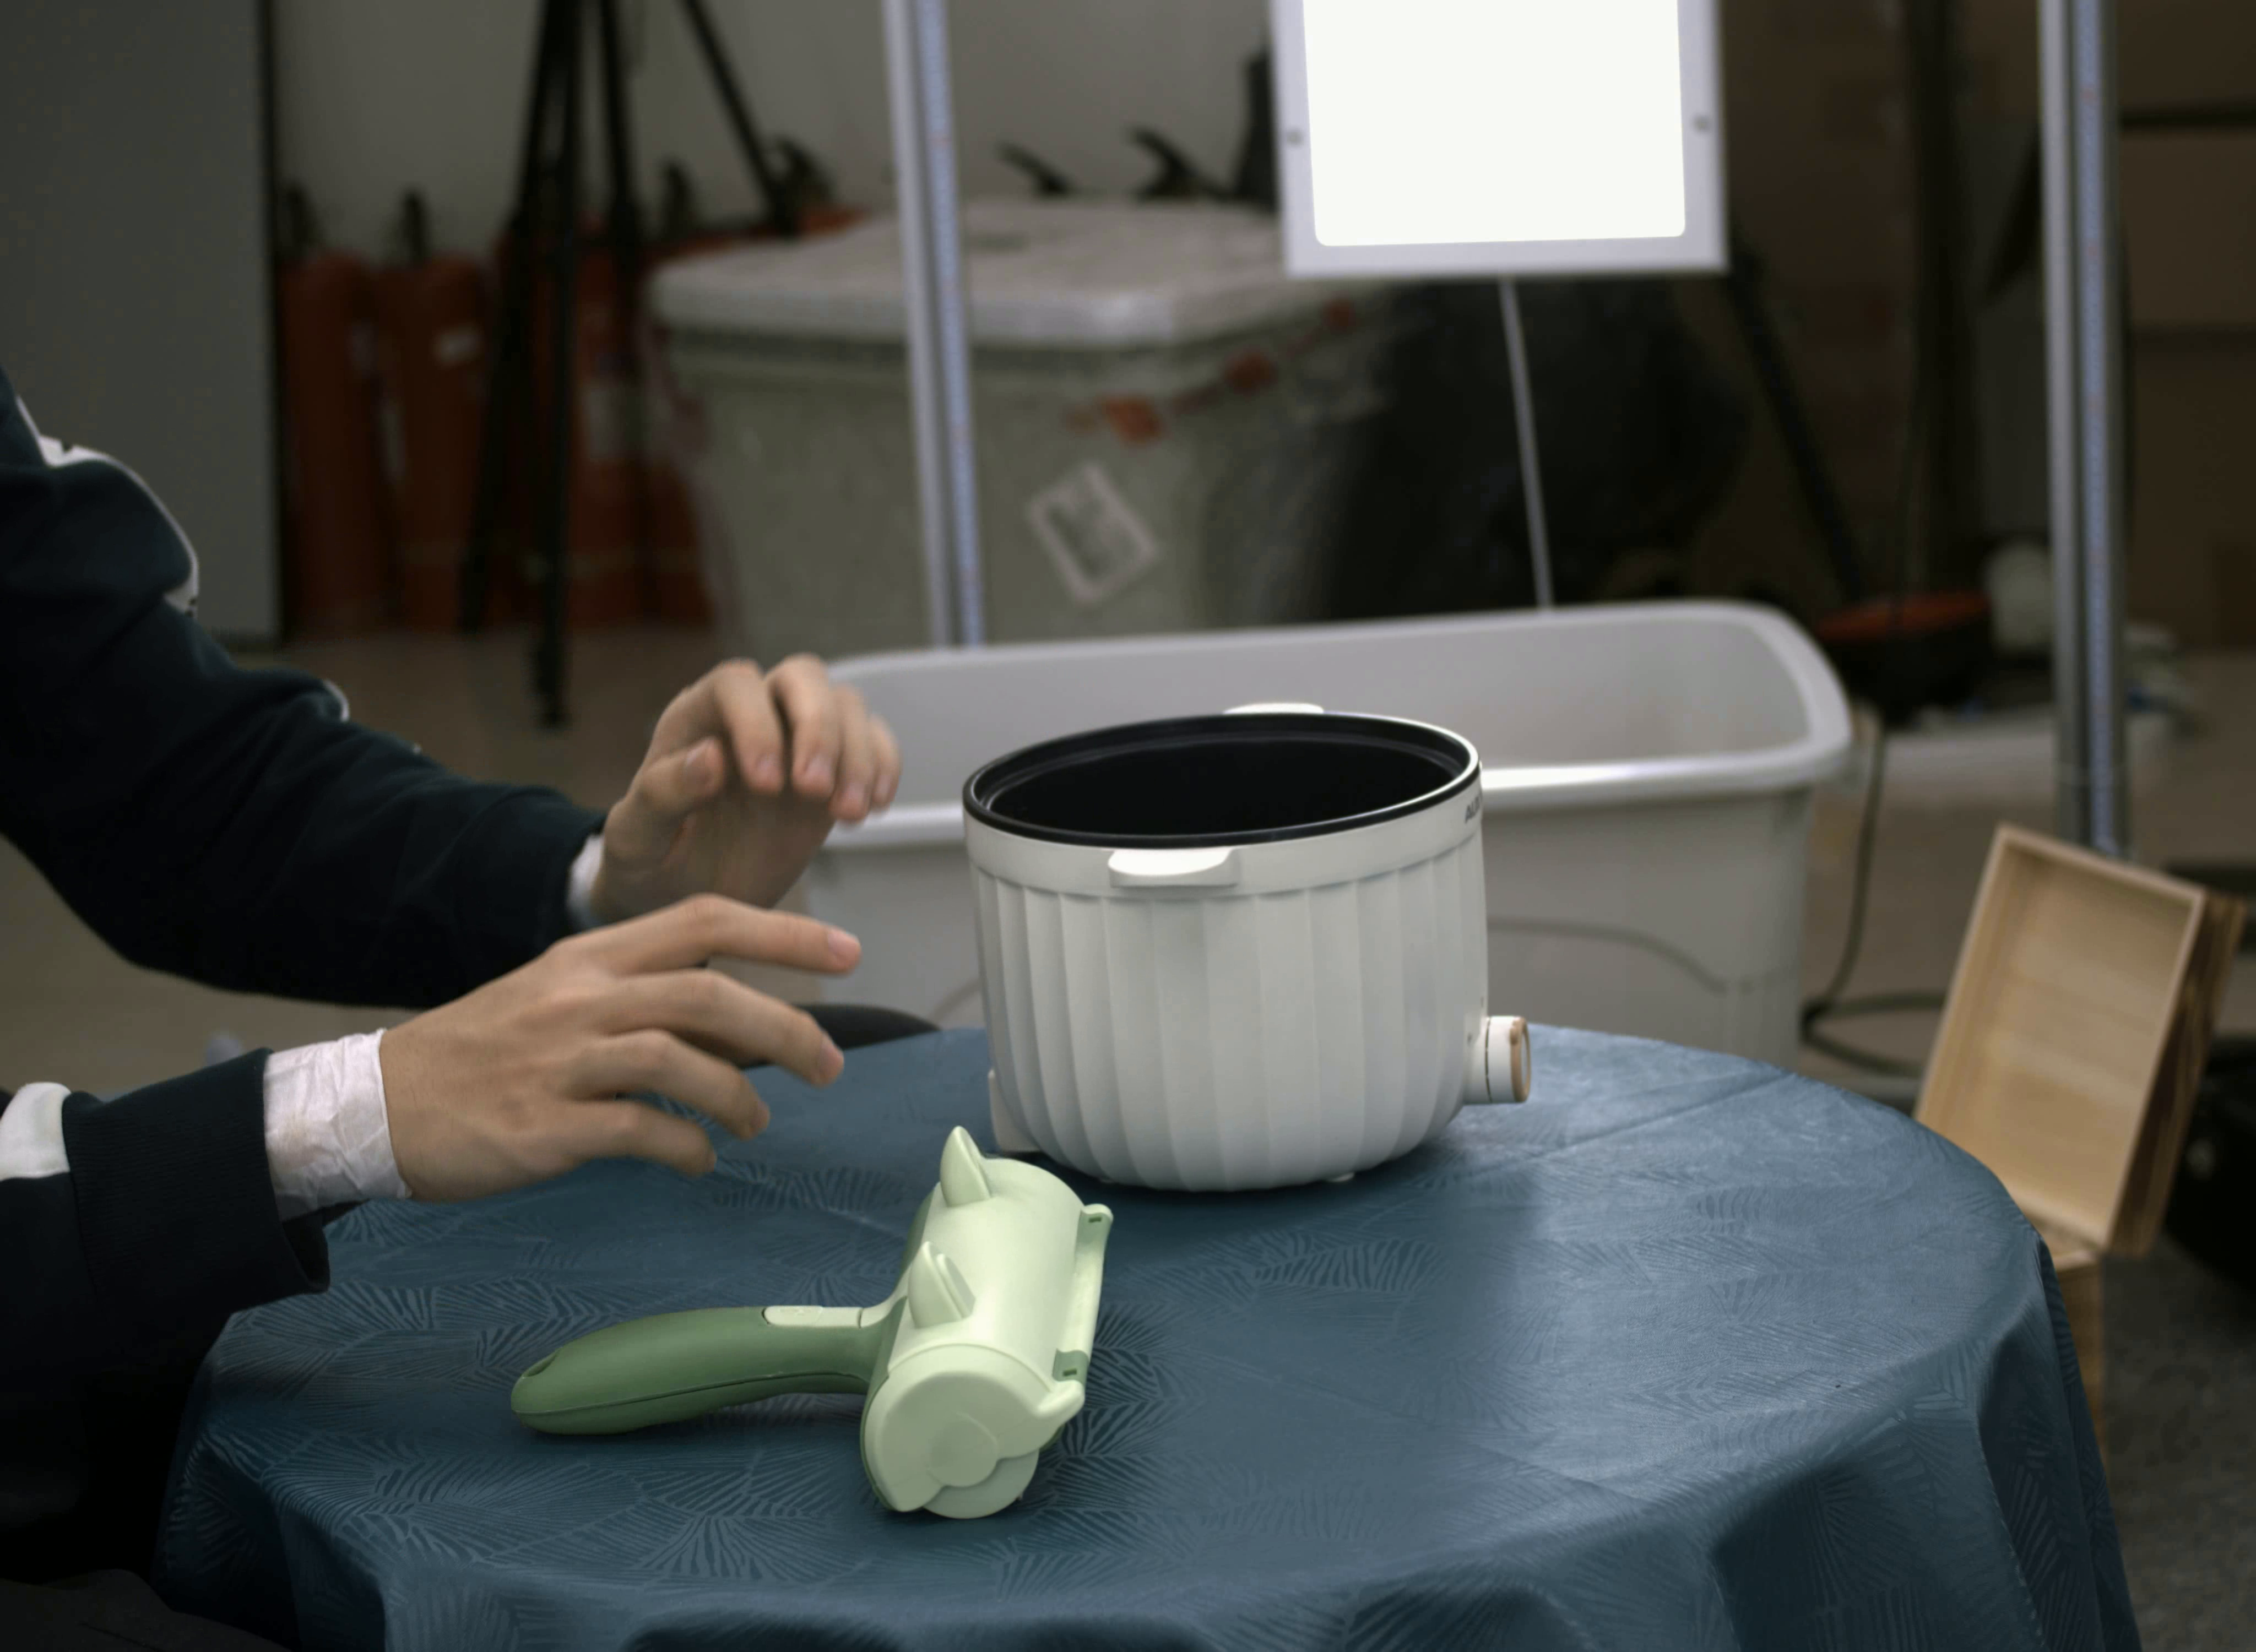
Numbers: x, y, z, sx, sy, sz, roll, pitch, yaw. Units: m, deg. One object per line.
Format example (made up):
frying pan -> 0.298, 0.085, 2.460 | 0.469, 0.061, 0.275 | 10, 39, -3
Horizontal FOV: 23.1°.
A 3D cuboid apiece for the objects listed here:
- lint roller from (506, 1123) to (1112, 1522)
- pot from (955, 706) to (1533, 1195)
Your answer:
lint roller -> -0.101, 0.147, 1.691 | 0.183, 0.082, 0.197 | 1, 15, 4
pot -> 0.042, 0.045, 1.921 | 0.192, 0.143, 0.237 | -5, 15, 13
